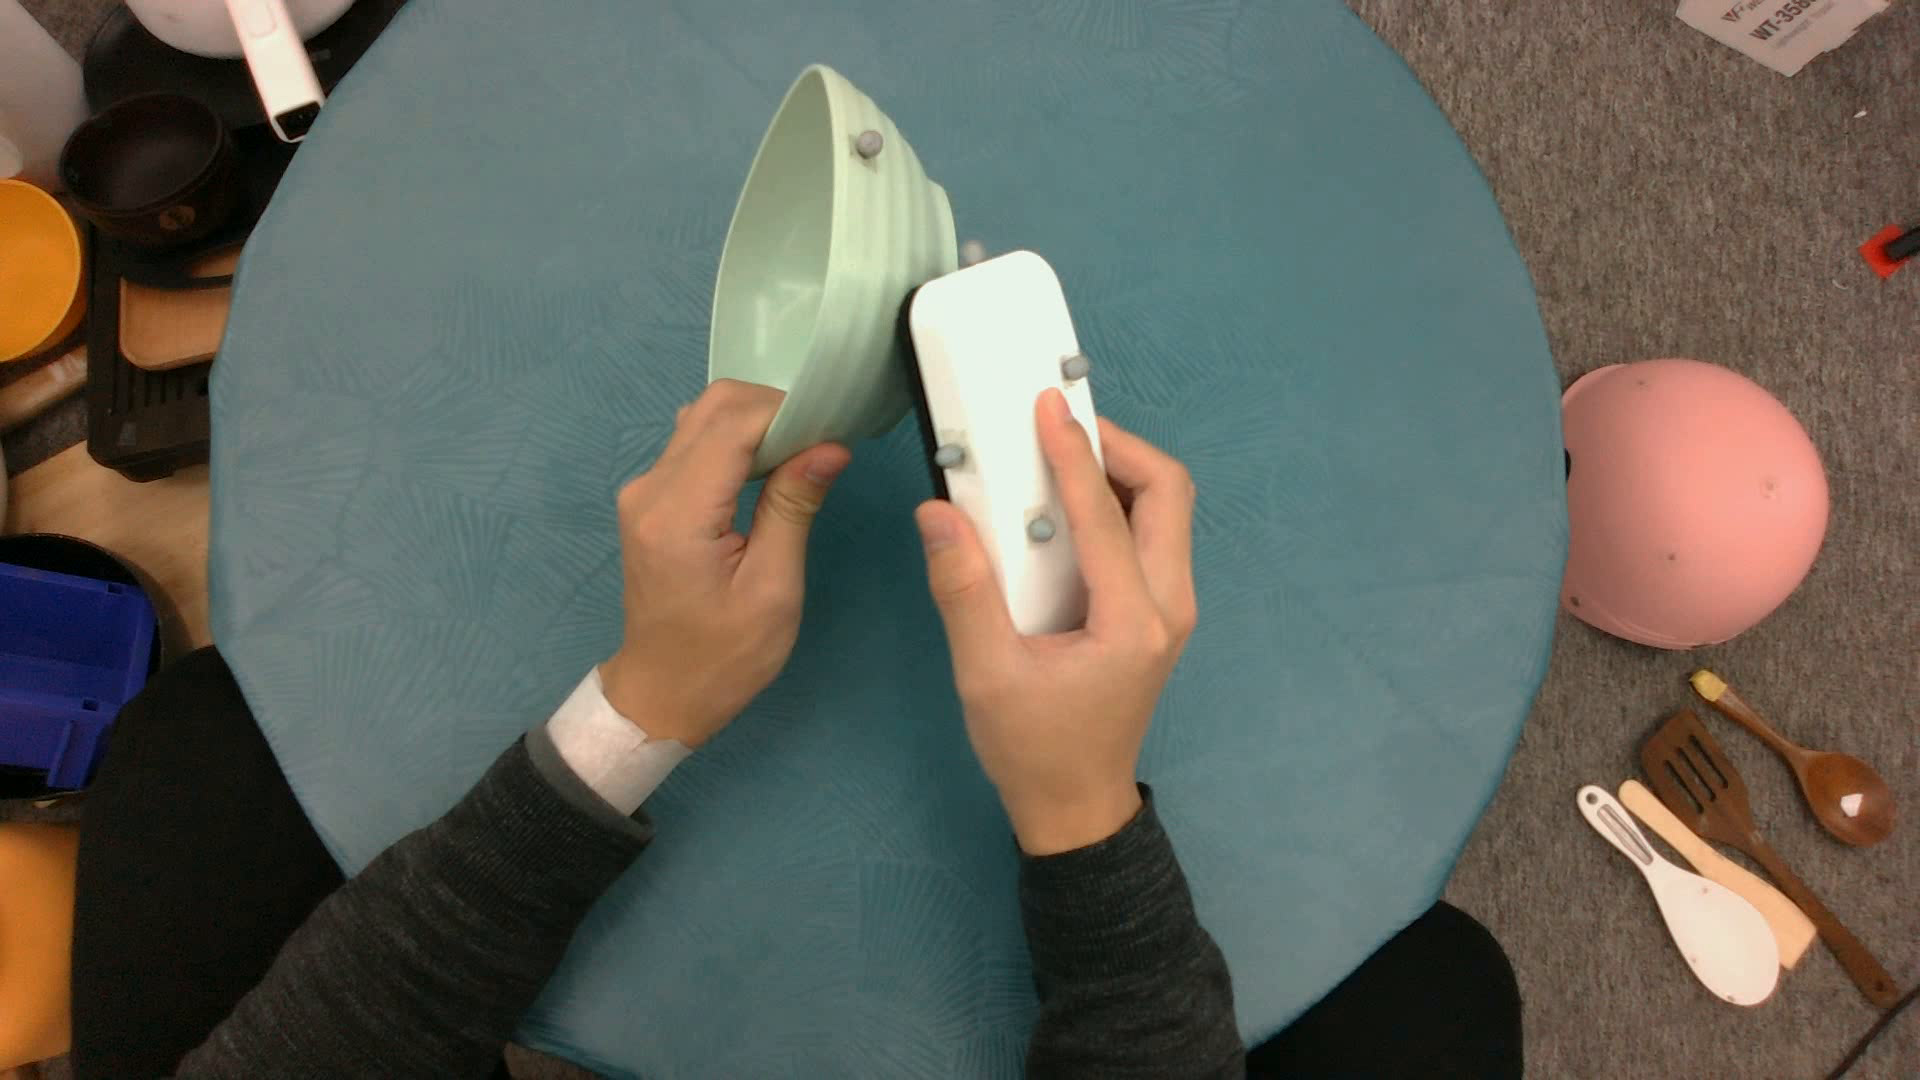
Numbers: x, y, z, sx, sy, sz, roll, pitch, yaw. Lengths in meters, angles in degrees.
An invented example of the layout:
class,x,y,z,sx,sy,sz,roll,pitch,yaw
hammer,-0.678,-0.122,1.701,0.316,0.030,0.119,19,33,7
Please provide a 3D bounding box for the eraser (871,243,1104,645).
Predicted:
class,x,y,z,sx,sy,sz,roll,pitch,yaw
eraser,0.012,-0.031,0.466,0.064,0.034,0.131,-30,112,-42

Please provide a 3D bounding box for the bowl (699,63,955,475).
class,x,y,z,sx,sy,sz,roll,pitch,yaw
bowl,-0.047,-0.092,0.508,0.059,0.151,0.152,12,77,-25
